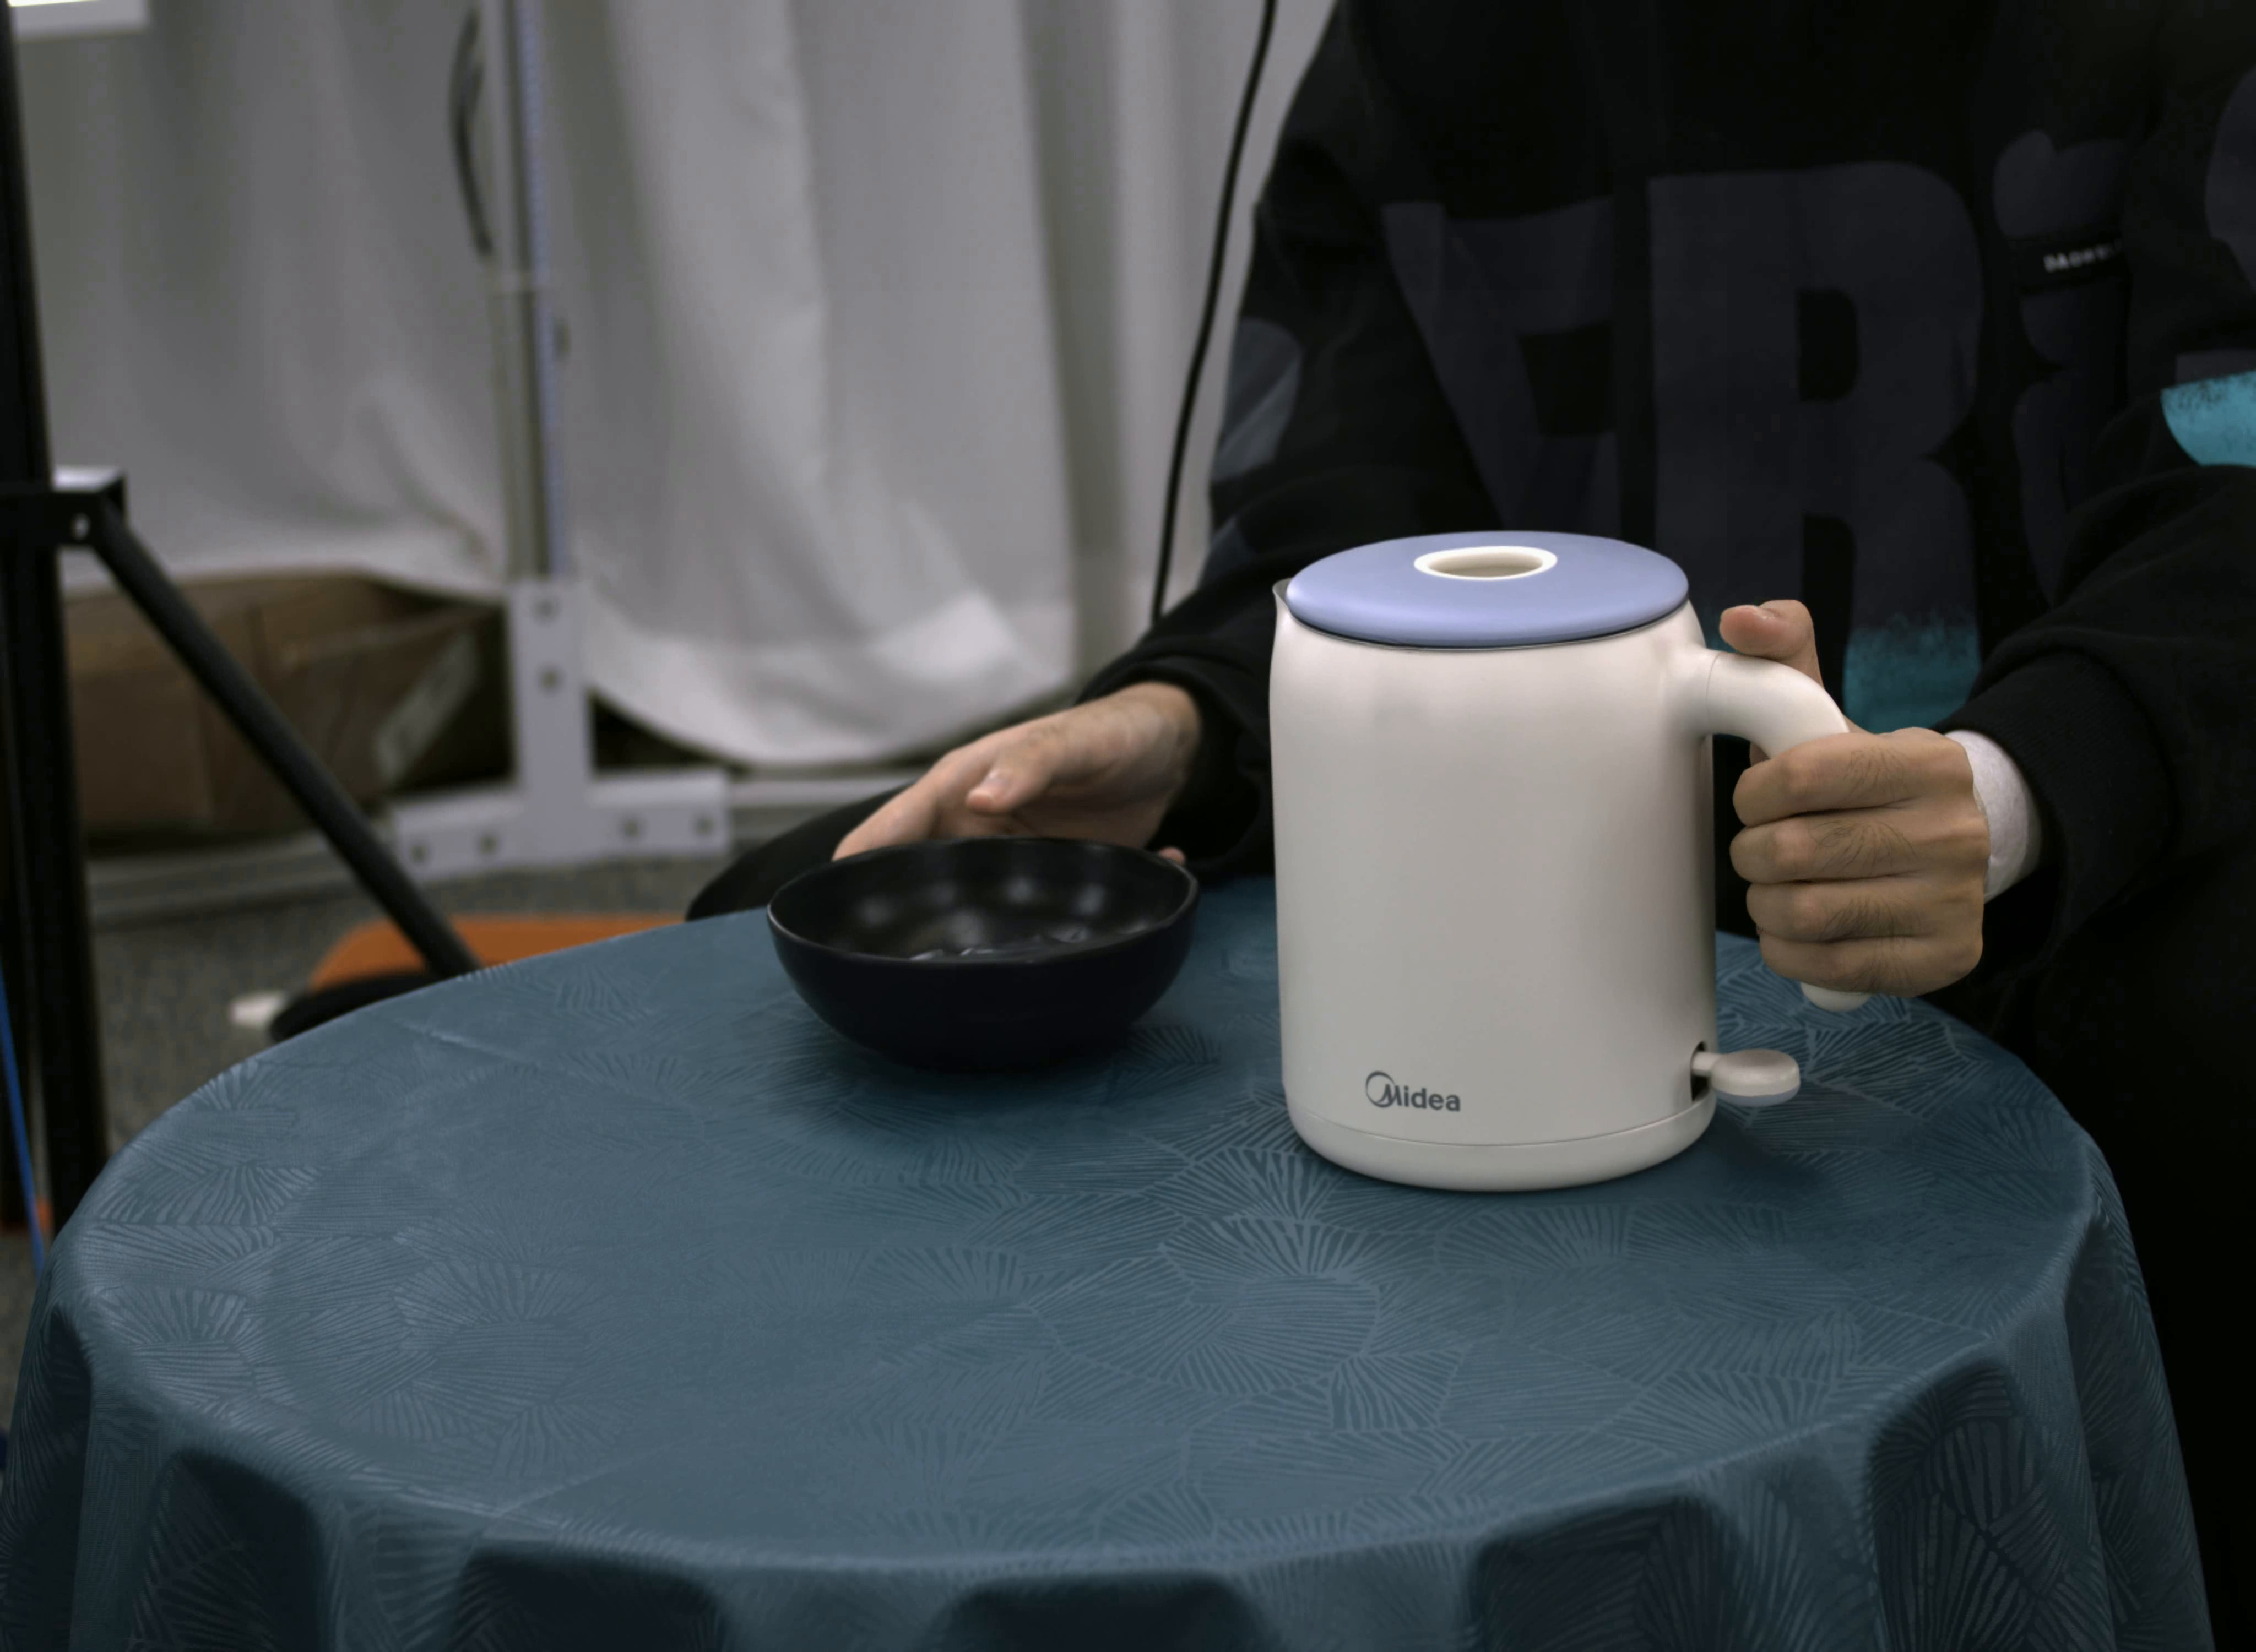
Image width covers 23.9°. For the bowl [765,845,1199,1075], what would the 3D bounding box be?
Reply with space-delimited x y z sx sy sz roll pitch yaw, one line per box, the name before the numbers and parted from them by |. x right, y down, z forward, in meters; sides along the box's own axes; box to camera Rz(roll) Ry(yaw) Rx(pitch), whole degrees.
bowl | -0.046 0.047 1.694 0.139 0.050 0.140 -2 14 -1

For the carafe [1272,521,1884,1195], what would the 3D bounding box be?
carafe | 0.131 0.012 1.563 0.194 0.182 0.130 8 19 26
